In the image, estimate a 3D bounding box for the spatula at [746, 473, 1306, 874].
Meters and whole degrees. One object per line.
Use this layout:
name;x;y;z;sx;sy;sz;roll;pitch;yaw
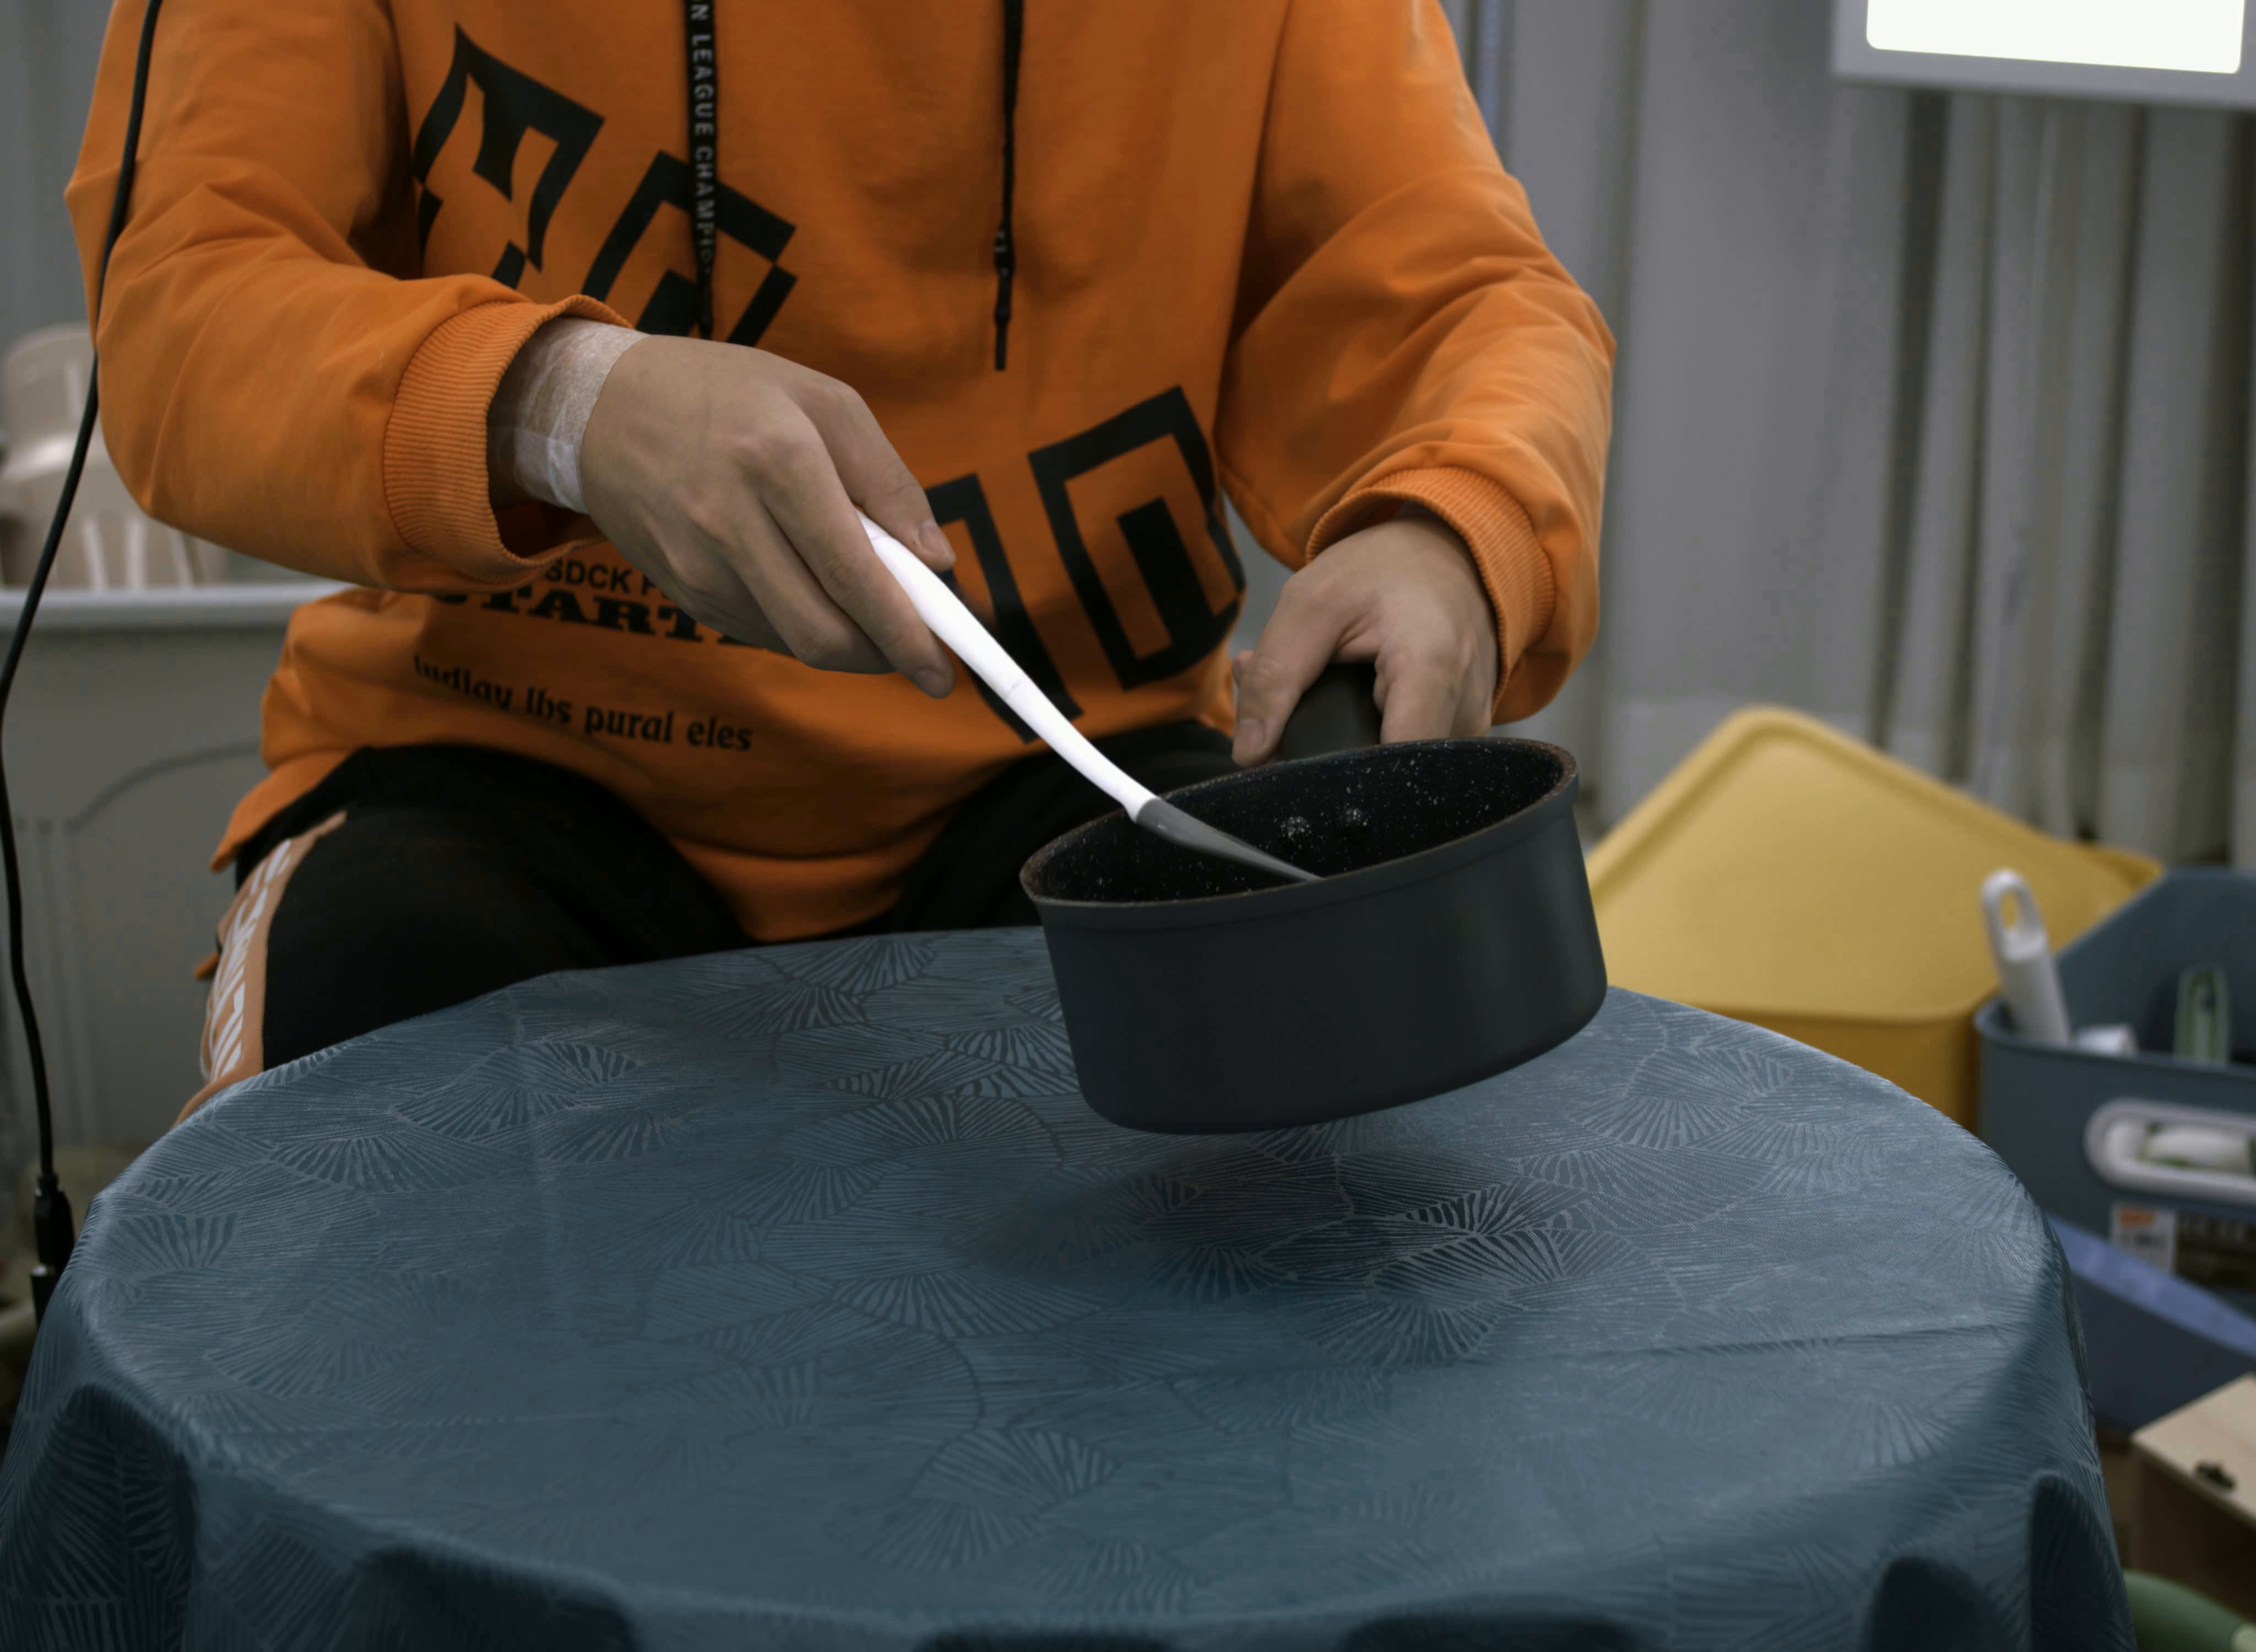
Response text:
spatula;-0.012;-0.031;1.640;0.284;0.032;0.059;35;3;29

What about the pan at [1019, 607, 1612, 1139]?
pan;0.067;0.010;1.656;0.171;0.087;0.327;-9;14;10
